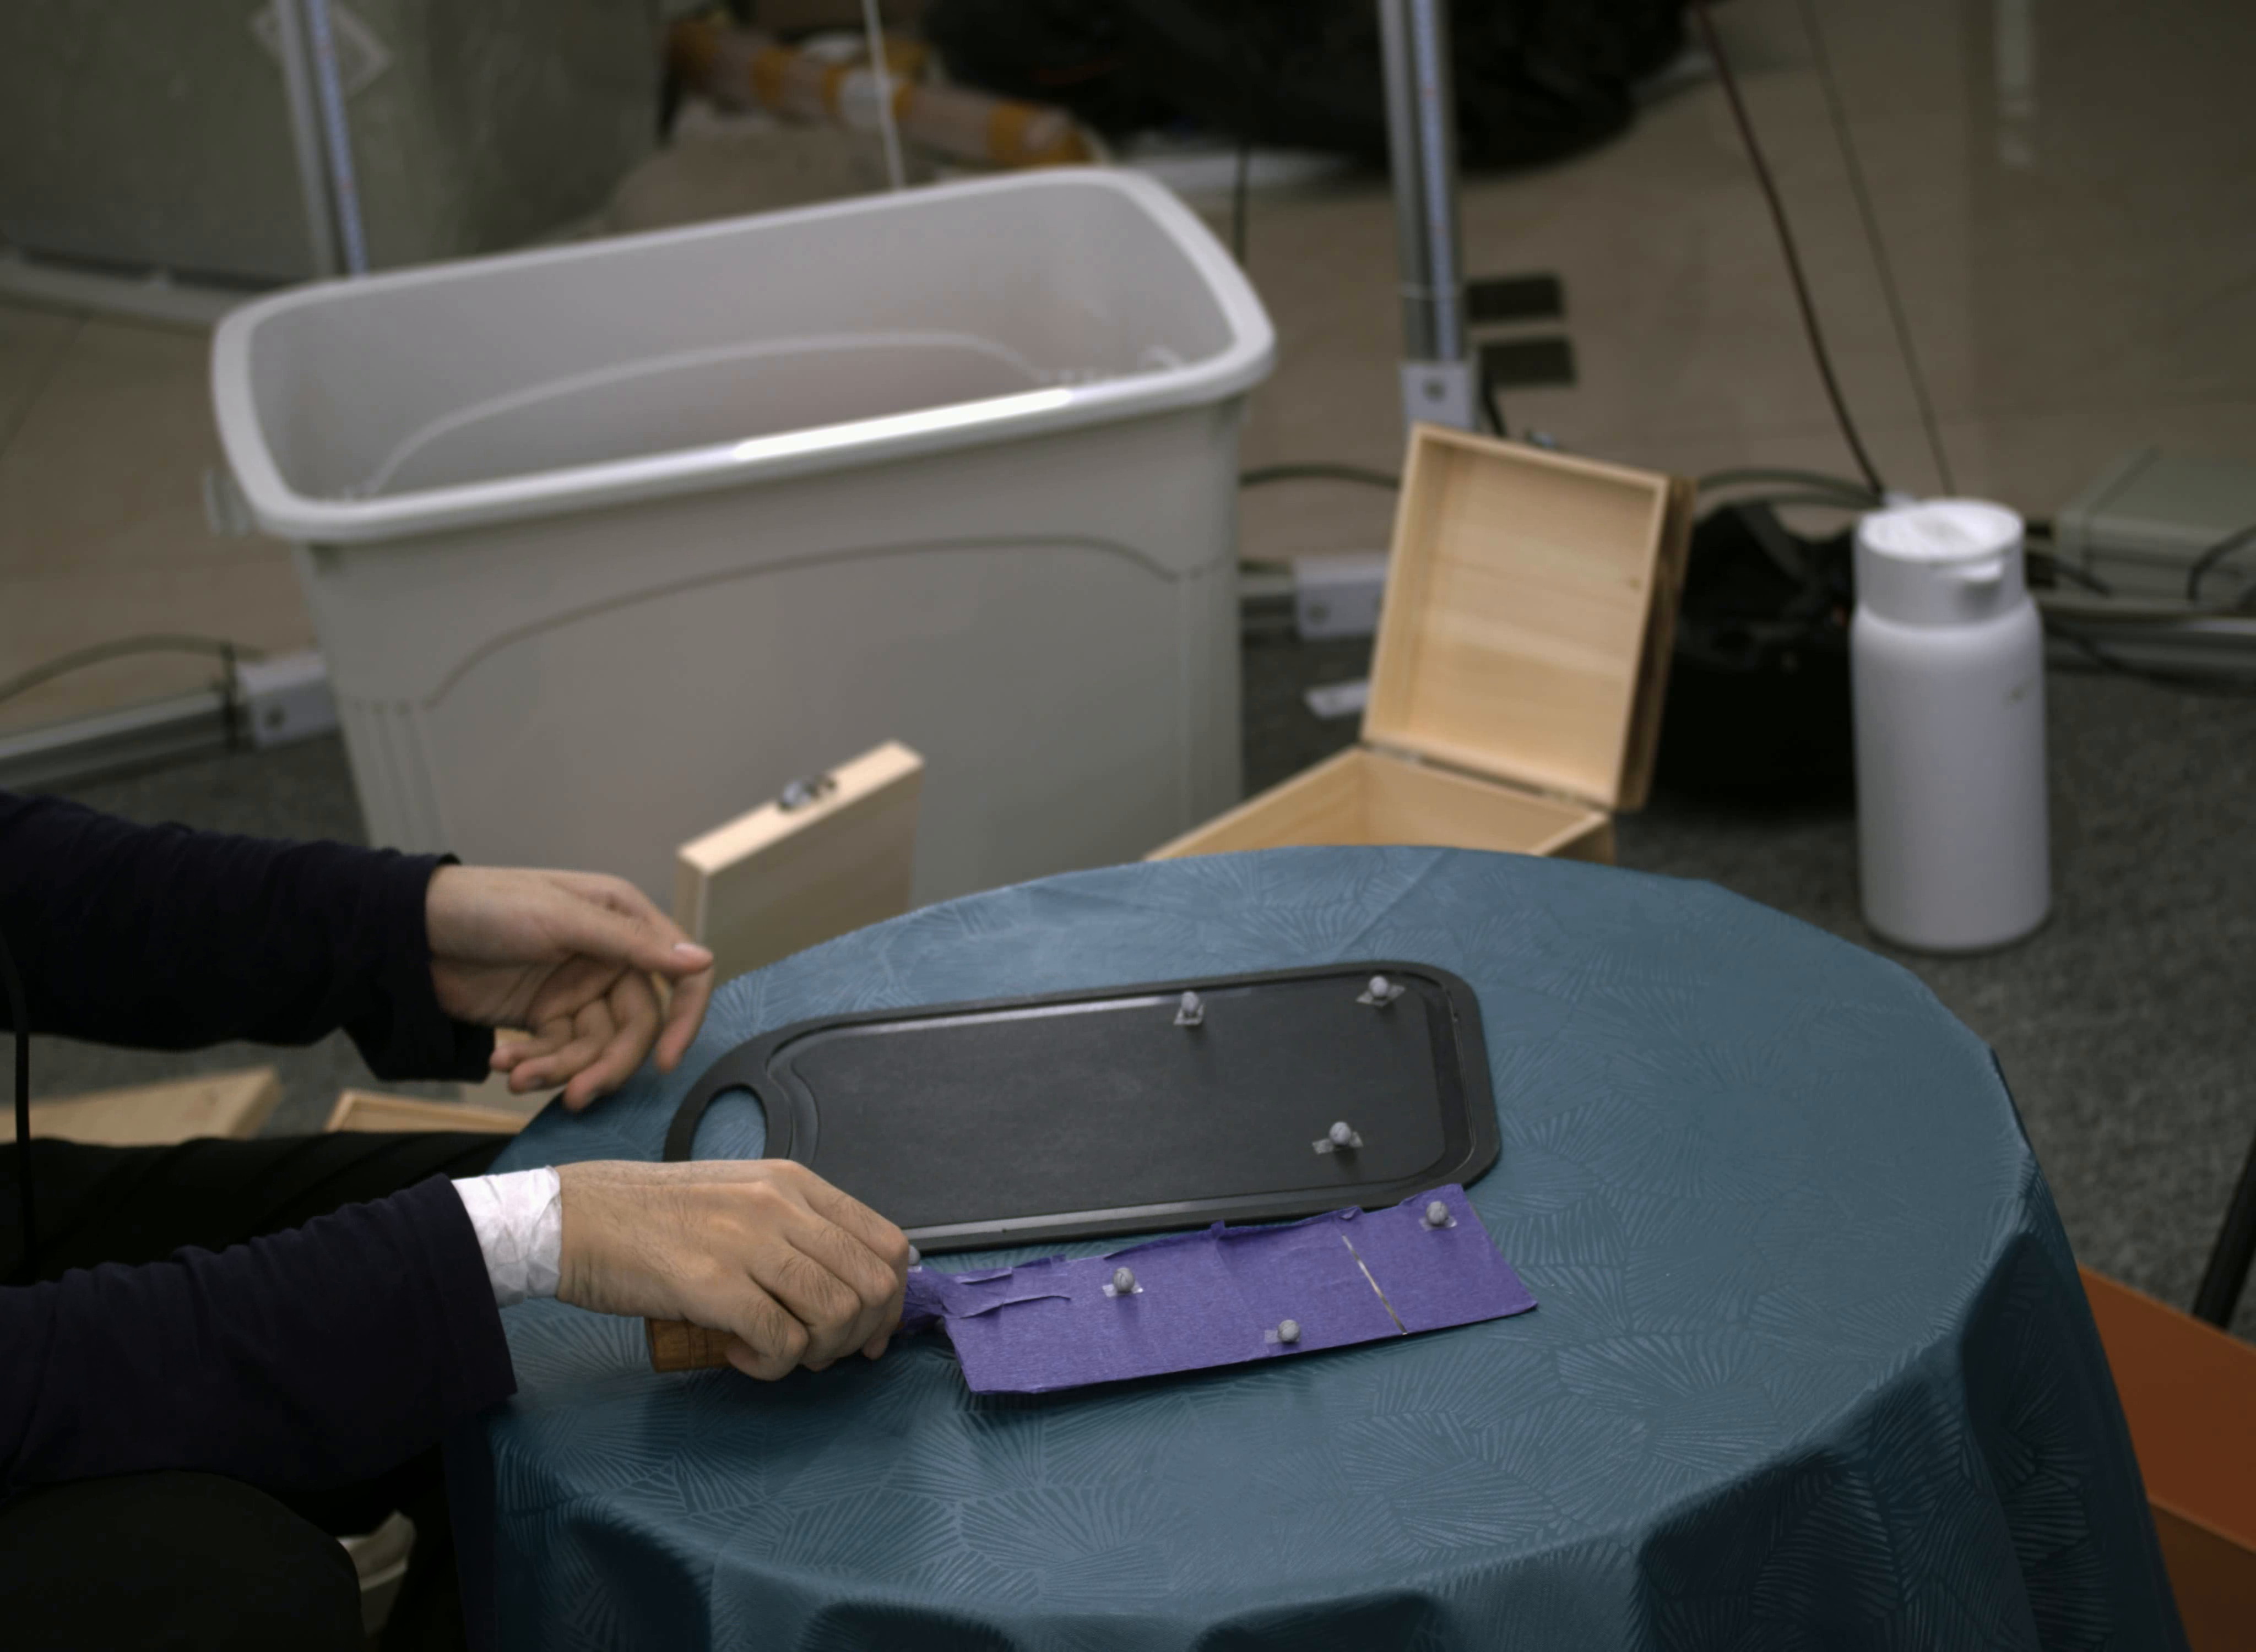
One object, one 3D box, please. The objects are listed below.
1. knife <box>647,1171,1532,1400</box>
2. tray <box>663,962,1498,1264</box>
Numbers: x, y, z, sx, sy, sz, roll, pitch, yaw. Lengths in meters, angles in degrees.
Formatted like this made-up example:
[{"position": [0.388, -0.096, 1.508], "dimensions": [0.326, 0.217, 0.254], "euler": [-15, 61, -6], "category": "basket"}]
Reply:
[{"position": [-0.014, 0.173, 2.050], "dimensions": [0.314, 0.033, 0.102], "euler": [-10, 25, -10], "category": "knife"}, {"position": [-0.020, 0.110, 2.212], "dimensions": [0.325, 0.010, 0.208], "euler": [-6, 24, 2], "category": "tray"}]
